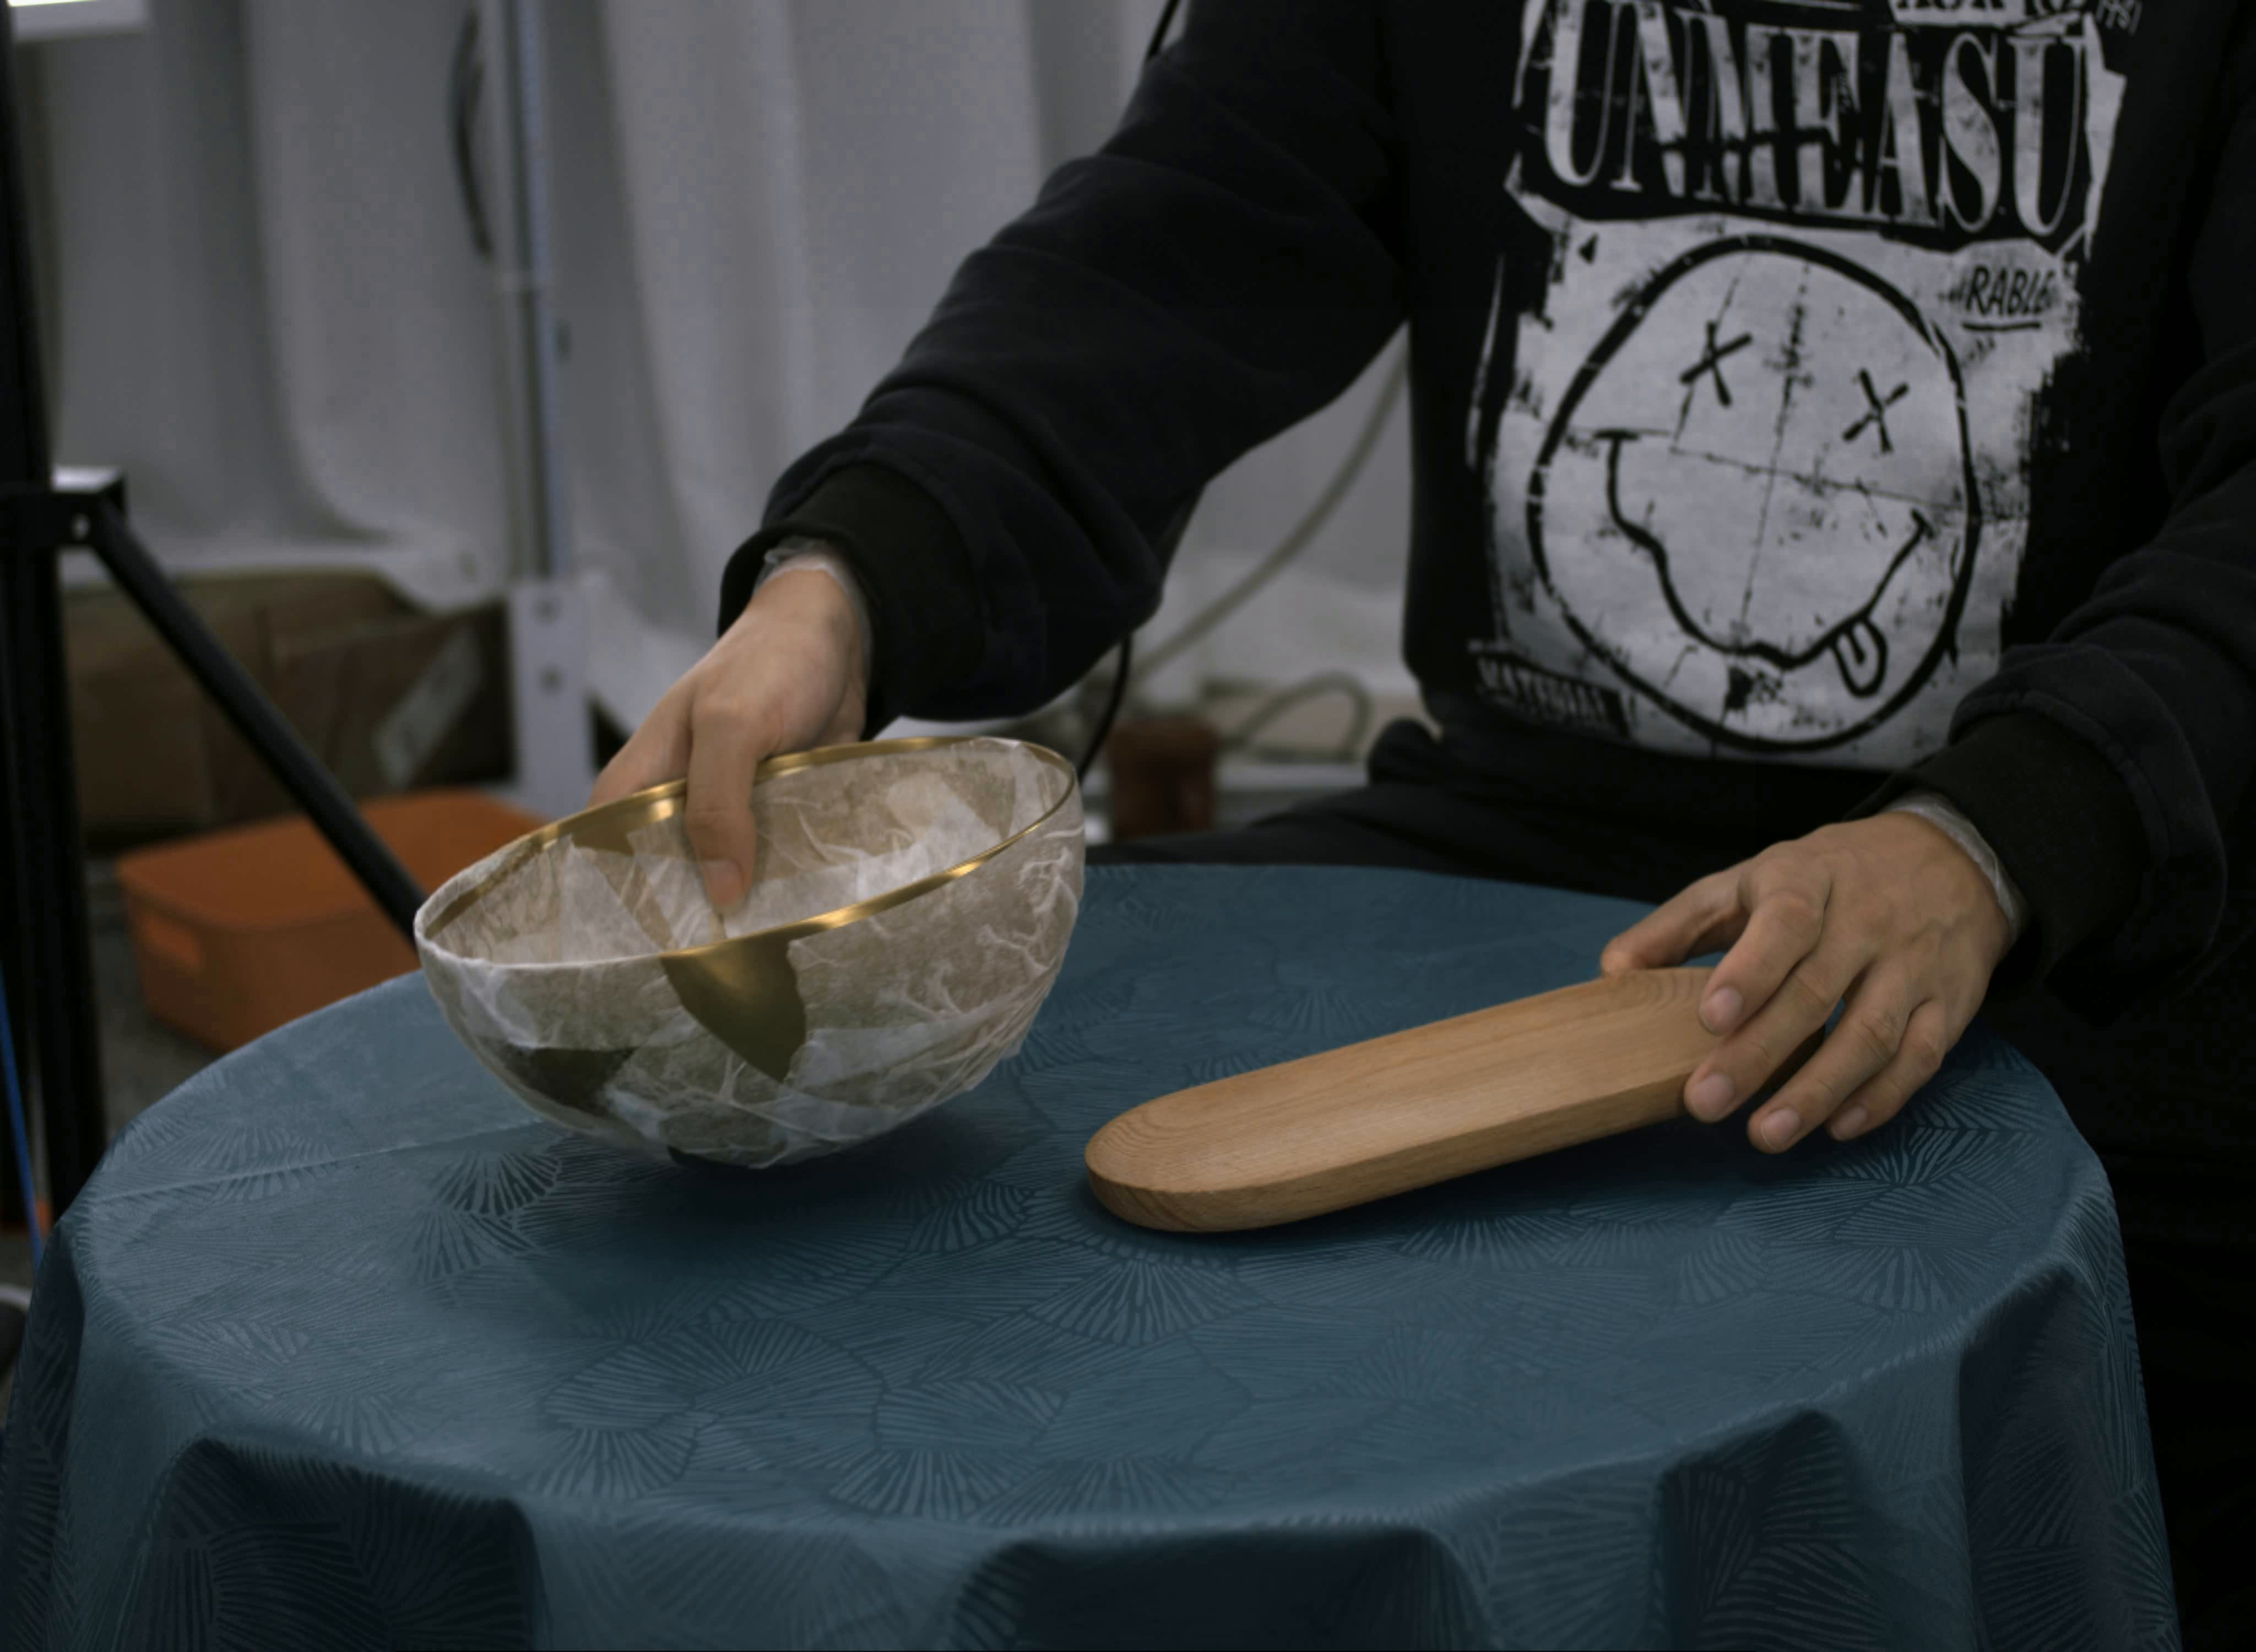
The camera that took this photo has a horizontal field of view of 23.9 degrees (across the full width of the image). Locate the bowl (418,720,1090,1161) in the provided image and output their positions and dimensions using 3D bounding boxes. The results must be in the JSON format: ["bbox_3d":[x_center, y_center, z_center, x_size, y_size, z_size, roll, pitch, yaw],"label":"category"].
[{"bbox_3d":[-0.099,0.044,1.588,0.214,0.094,0.216,-14,15,2],"label":"bowl"}]

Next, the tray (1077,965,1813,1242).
[{"bbox_3d":[0.095,0.082,1.566,0.227,0.020,0.103,-16,15,-17],"label":"tray"}]
